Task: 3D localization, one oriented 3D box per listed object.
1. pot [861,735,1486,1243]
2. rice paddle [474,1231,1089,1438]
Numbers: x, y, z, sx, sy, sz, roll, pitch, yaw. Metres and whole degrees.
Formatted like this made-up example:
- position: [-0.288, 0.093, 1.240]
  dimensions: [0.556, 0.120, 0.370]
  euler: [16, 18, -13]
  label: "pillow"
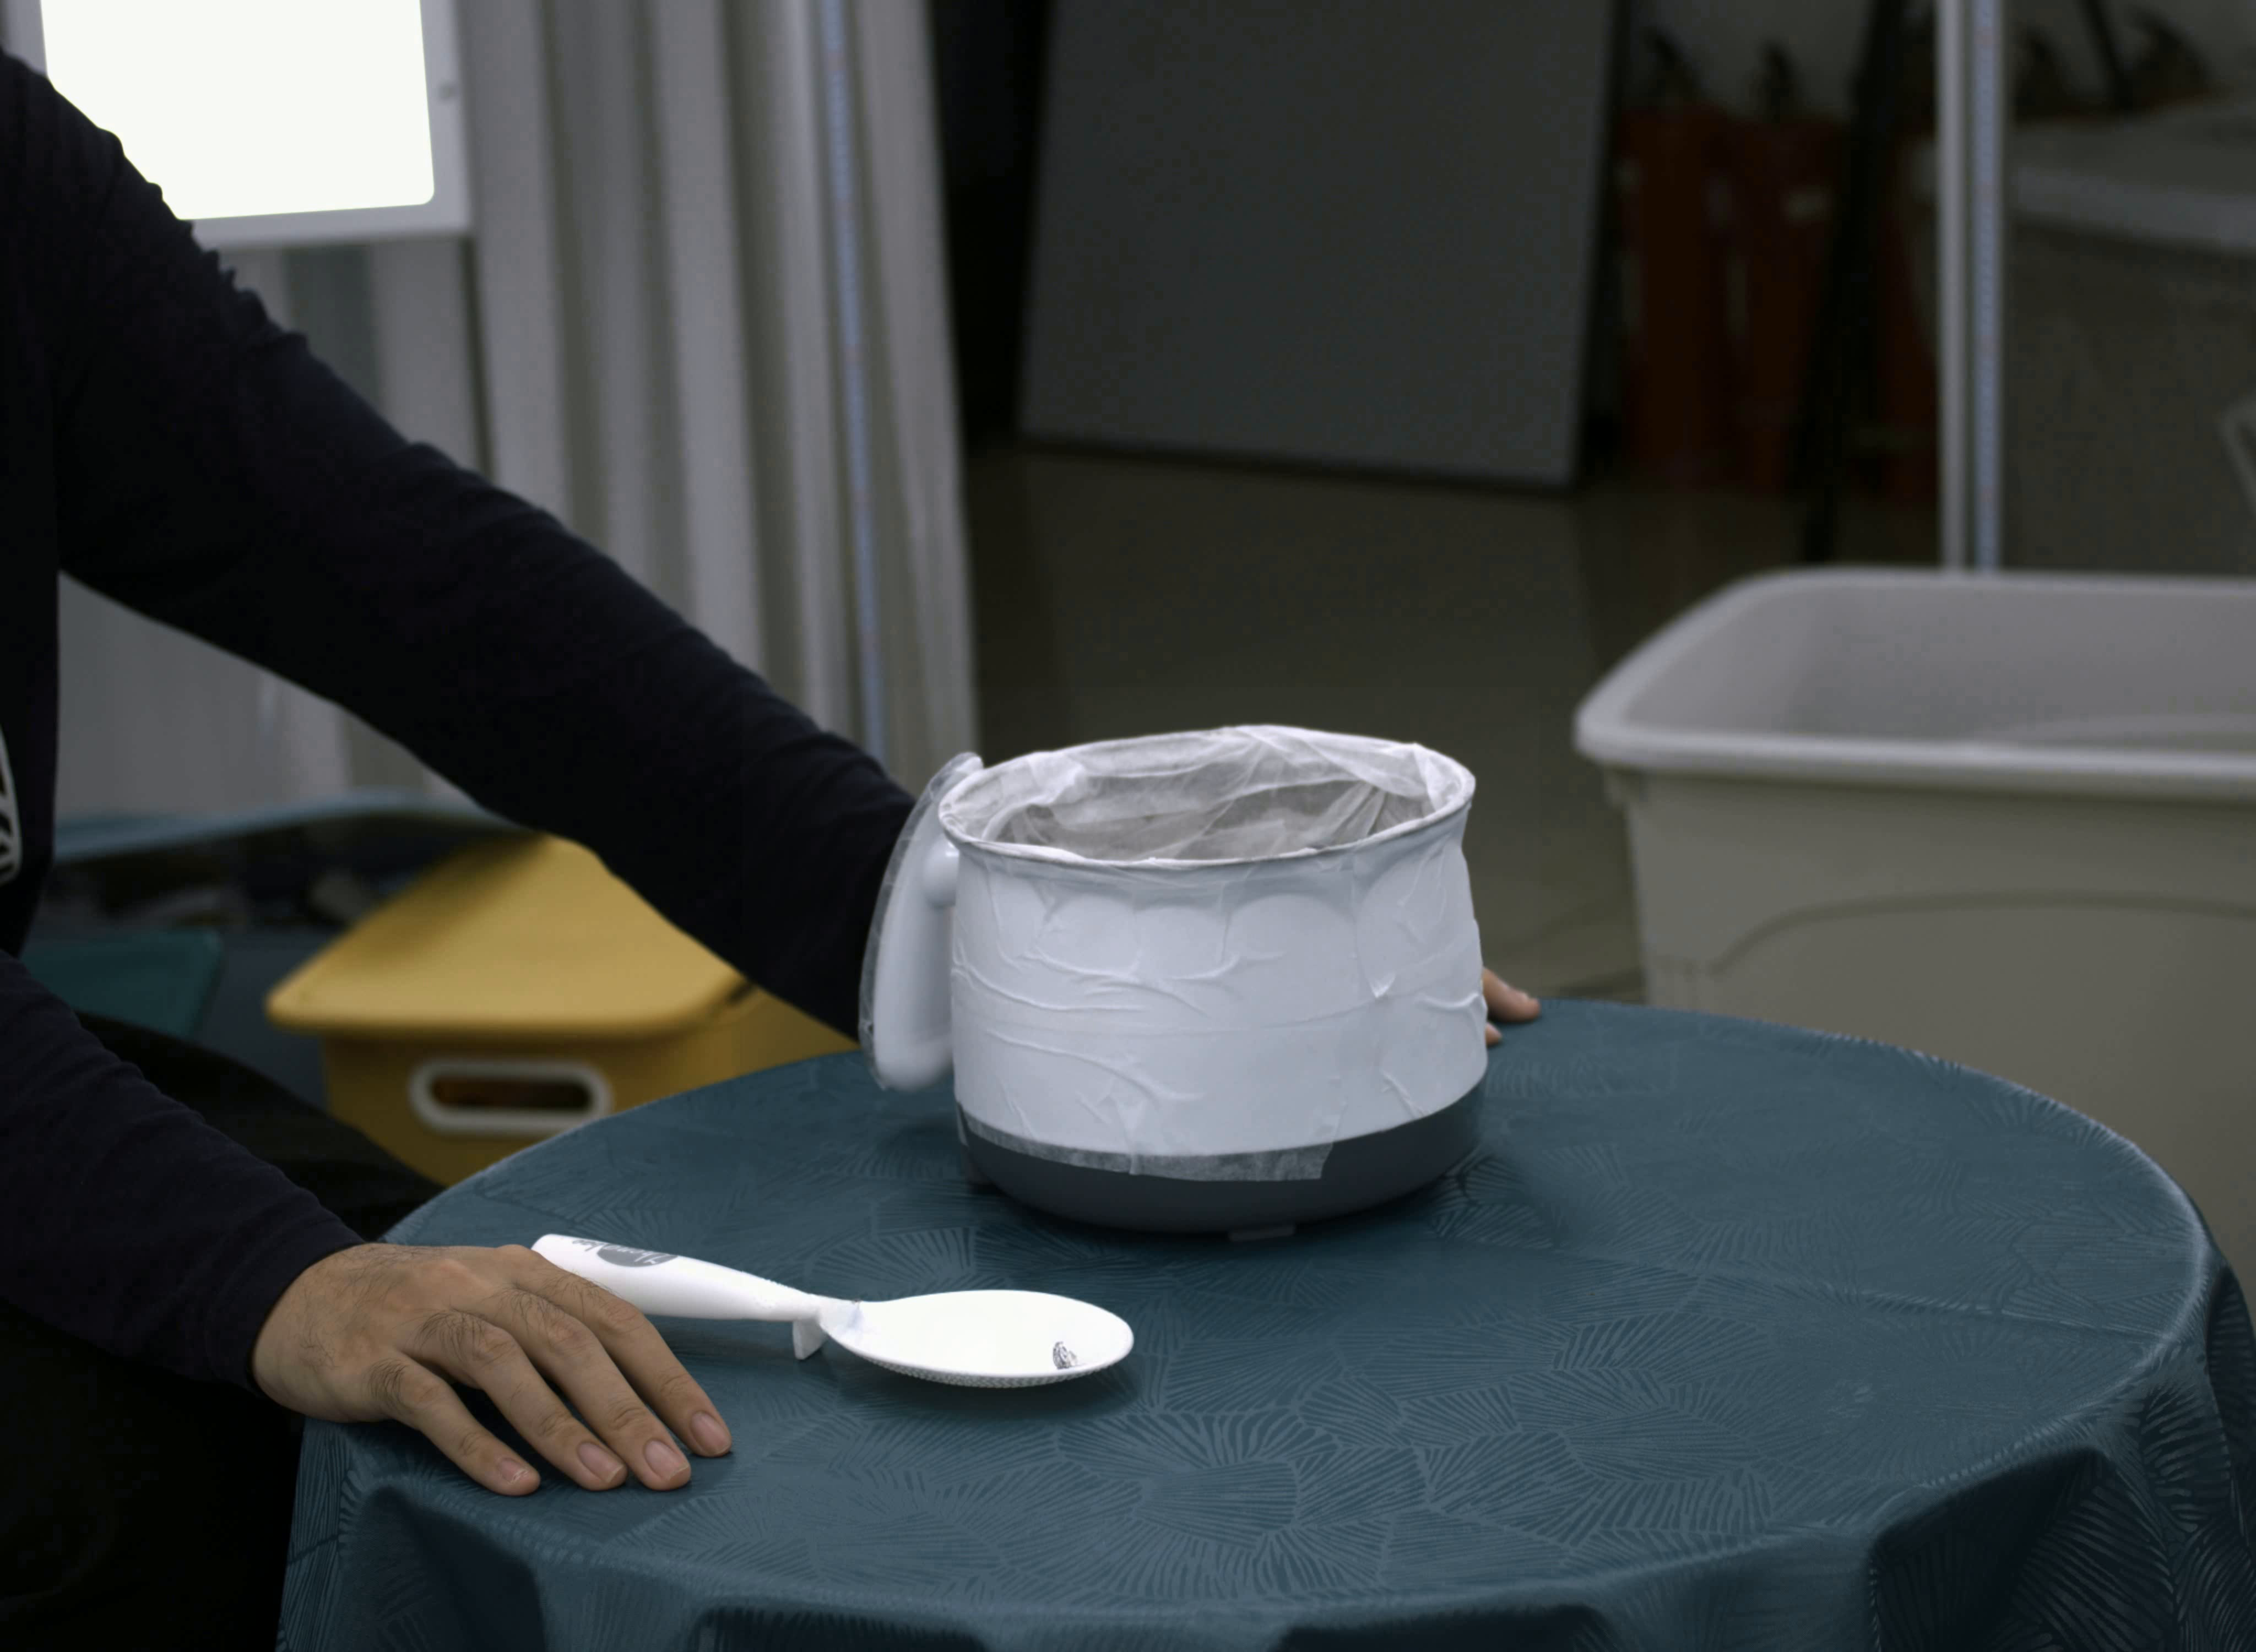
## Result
- position: [0.007, 0.049, 1.782]
  dimensions: [0.235, 0.138, 0.175]
  euler: [6, 14, 35]
  label: "pot"
- position: [-0.104, 0.155, 1.628]
  dimensions: [0.206, 0.030, 0.068]
  euler: [10, 12, 26]
  label: "rice paddle"
